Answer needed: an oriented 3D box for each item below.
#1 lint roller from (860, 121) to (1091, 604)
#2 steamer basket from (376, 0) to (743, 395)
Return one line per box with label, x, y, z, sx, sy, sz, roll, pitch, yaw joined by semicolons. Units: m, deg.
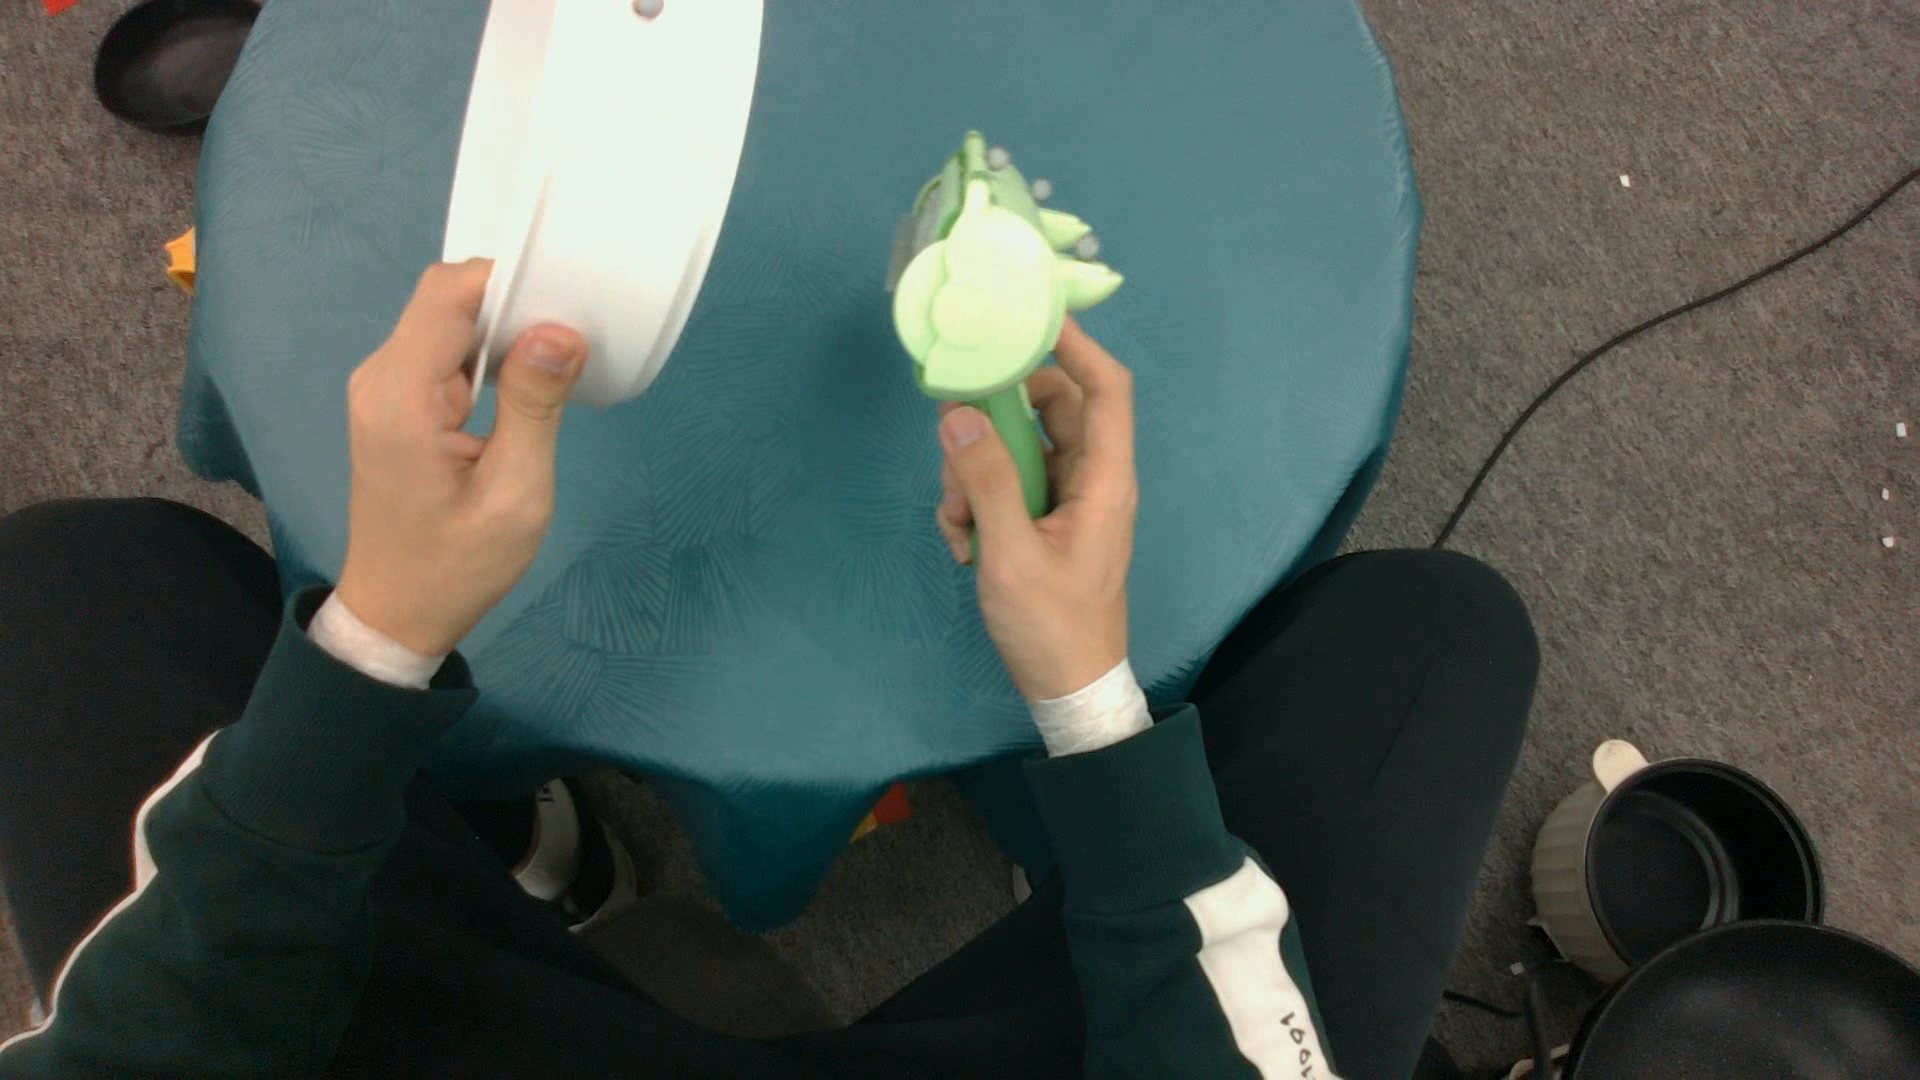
lint roller;0.018;-0.065;0.532;0.082;0.199;0.183;-20;111;5
steamer basket;-0.145;-0.154;0.495;0.069;0.201;0.231;18;78;-30
